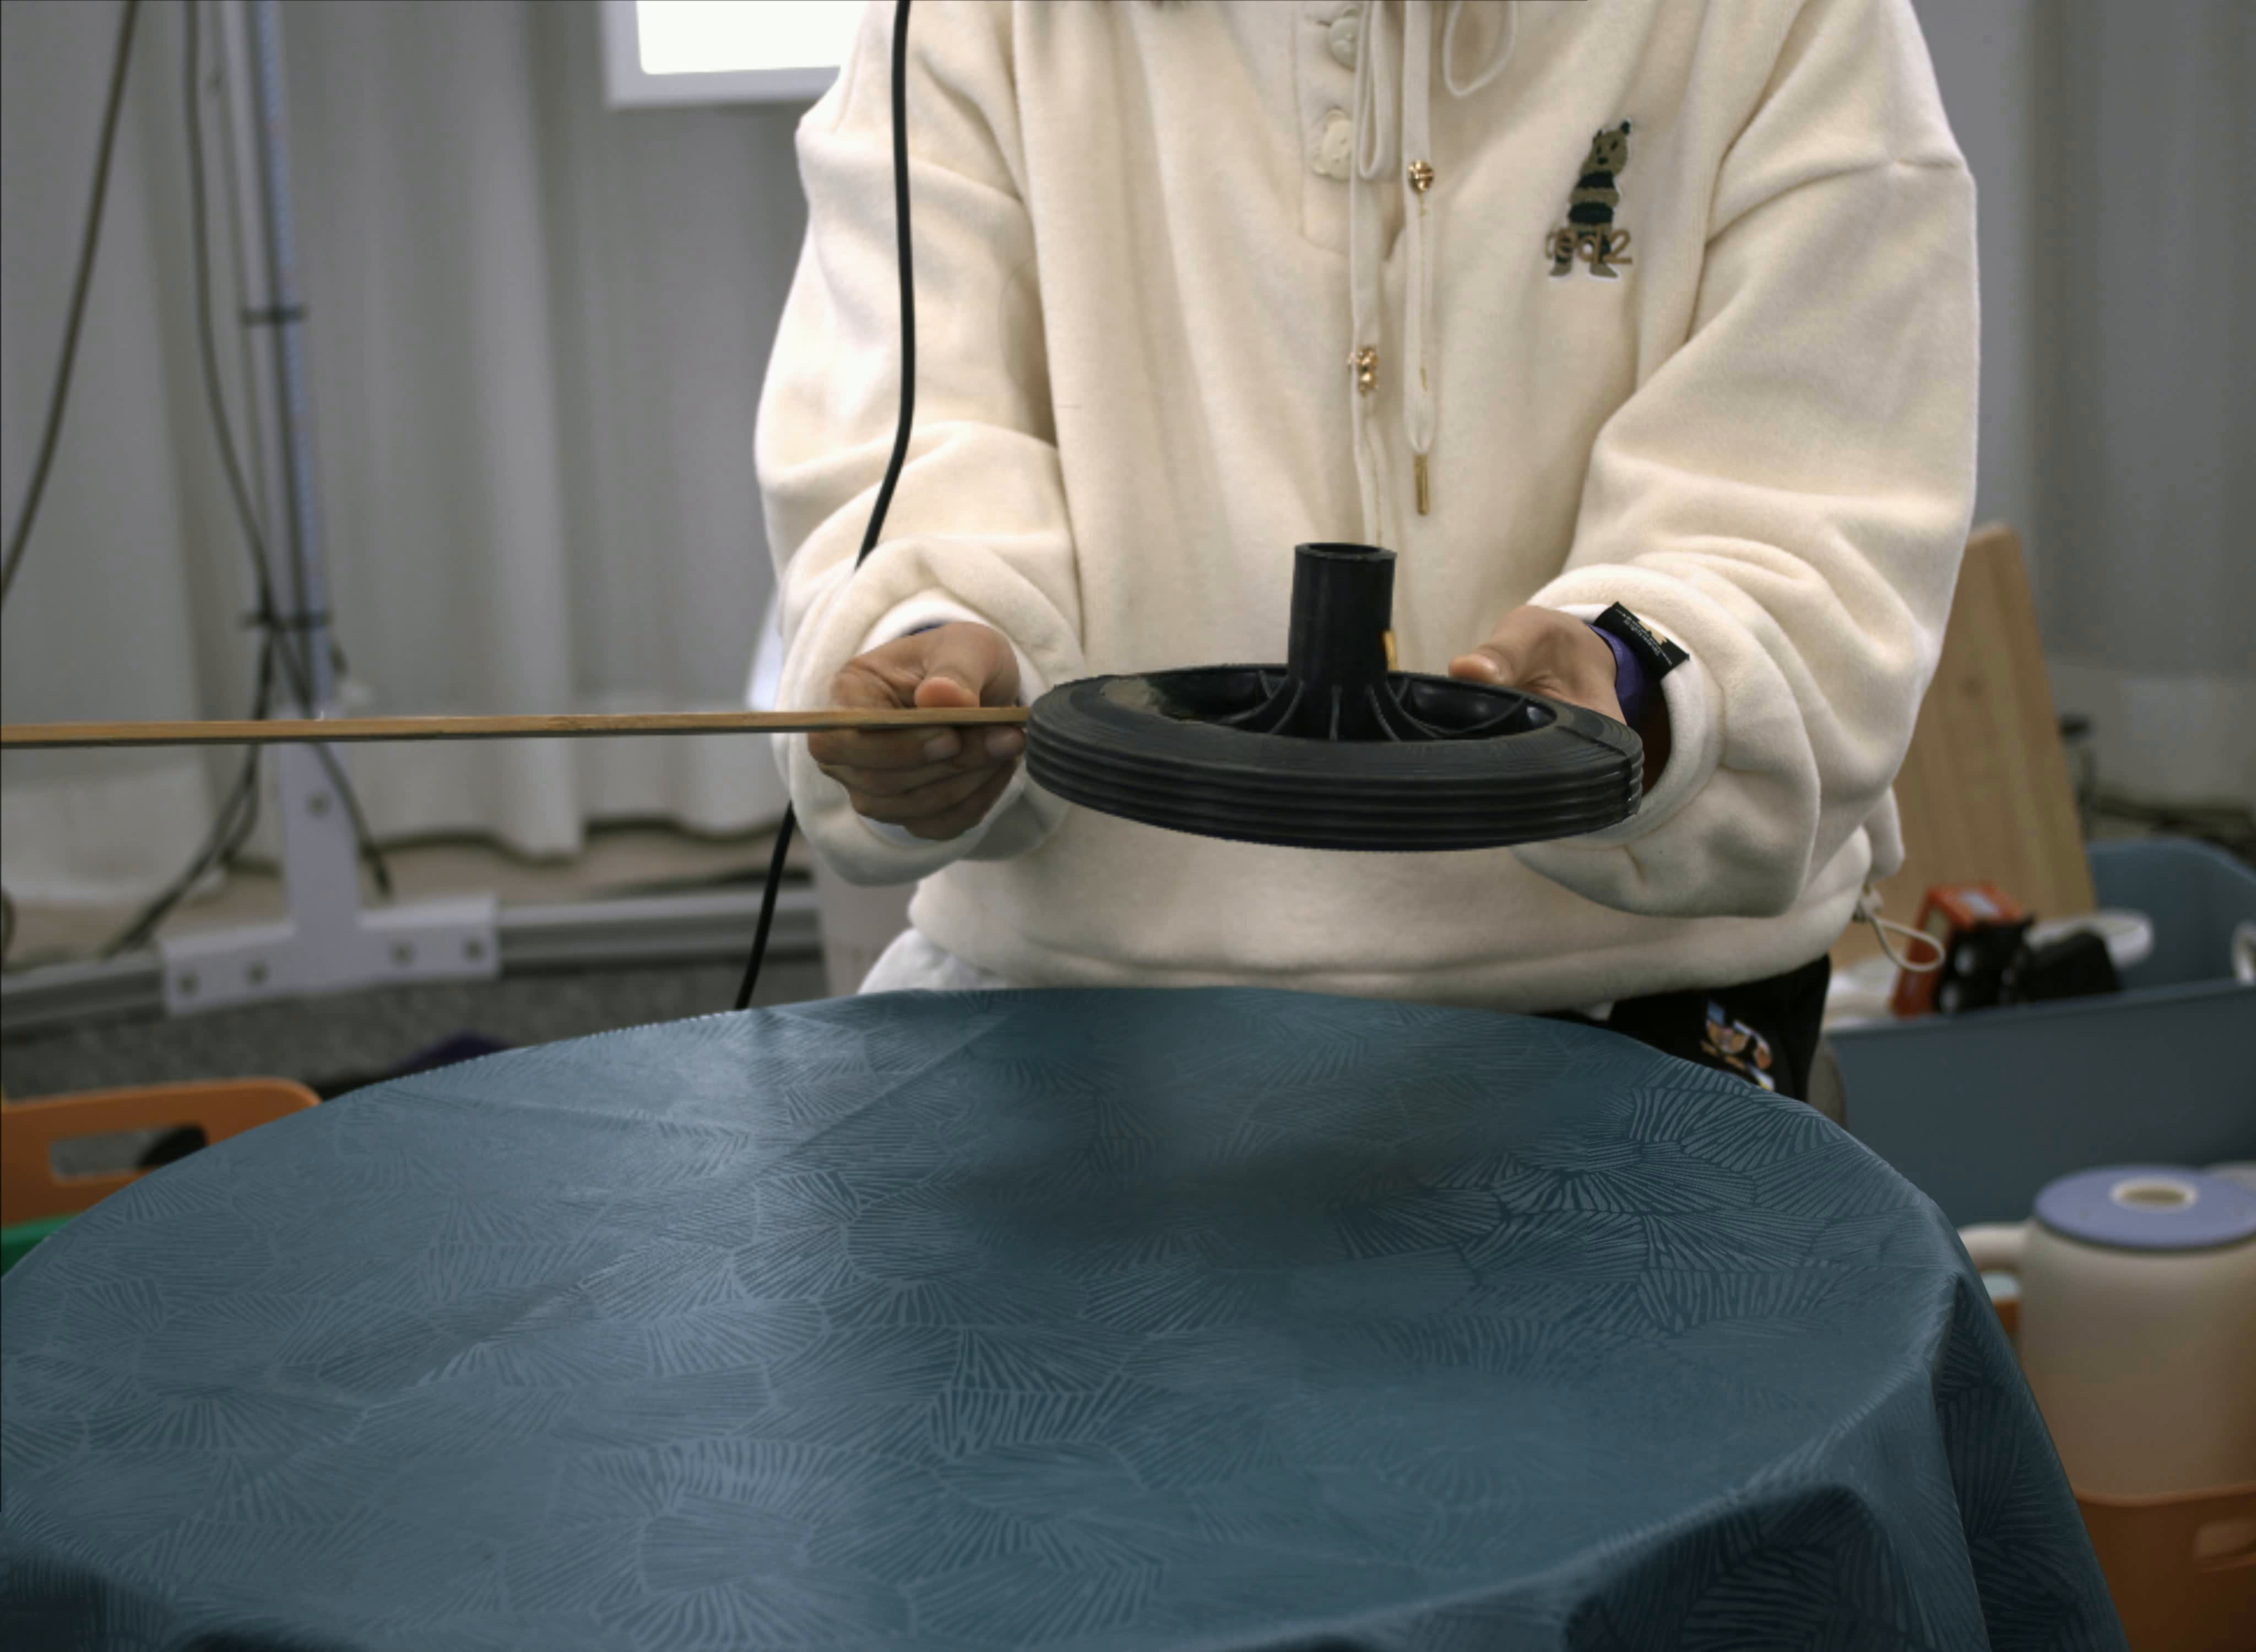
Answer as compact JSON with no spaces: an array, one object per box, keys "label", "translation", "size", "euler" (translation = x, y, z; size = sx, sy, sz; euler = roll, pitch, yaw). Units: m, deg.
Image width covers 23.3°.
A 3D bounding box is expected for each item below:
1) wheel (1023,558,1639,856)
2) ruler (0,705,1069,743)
[{"label":"wheel","translation":[0.064,-0.040,1.659],"size":[0.189,0.079,0.189],"euler":[-2,12,-31]},{"label":"ruler","translation":[-0.176,-0.030,1.616],"size":[0.497,0.006,0.027],"euler":[-2,-5,-36]}]
